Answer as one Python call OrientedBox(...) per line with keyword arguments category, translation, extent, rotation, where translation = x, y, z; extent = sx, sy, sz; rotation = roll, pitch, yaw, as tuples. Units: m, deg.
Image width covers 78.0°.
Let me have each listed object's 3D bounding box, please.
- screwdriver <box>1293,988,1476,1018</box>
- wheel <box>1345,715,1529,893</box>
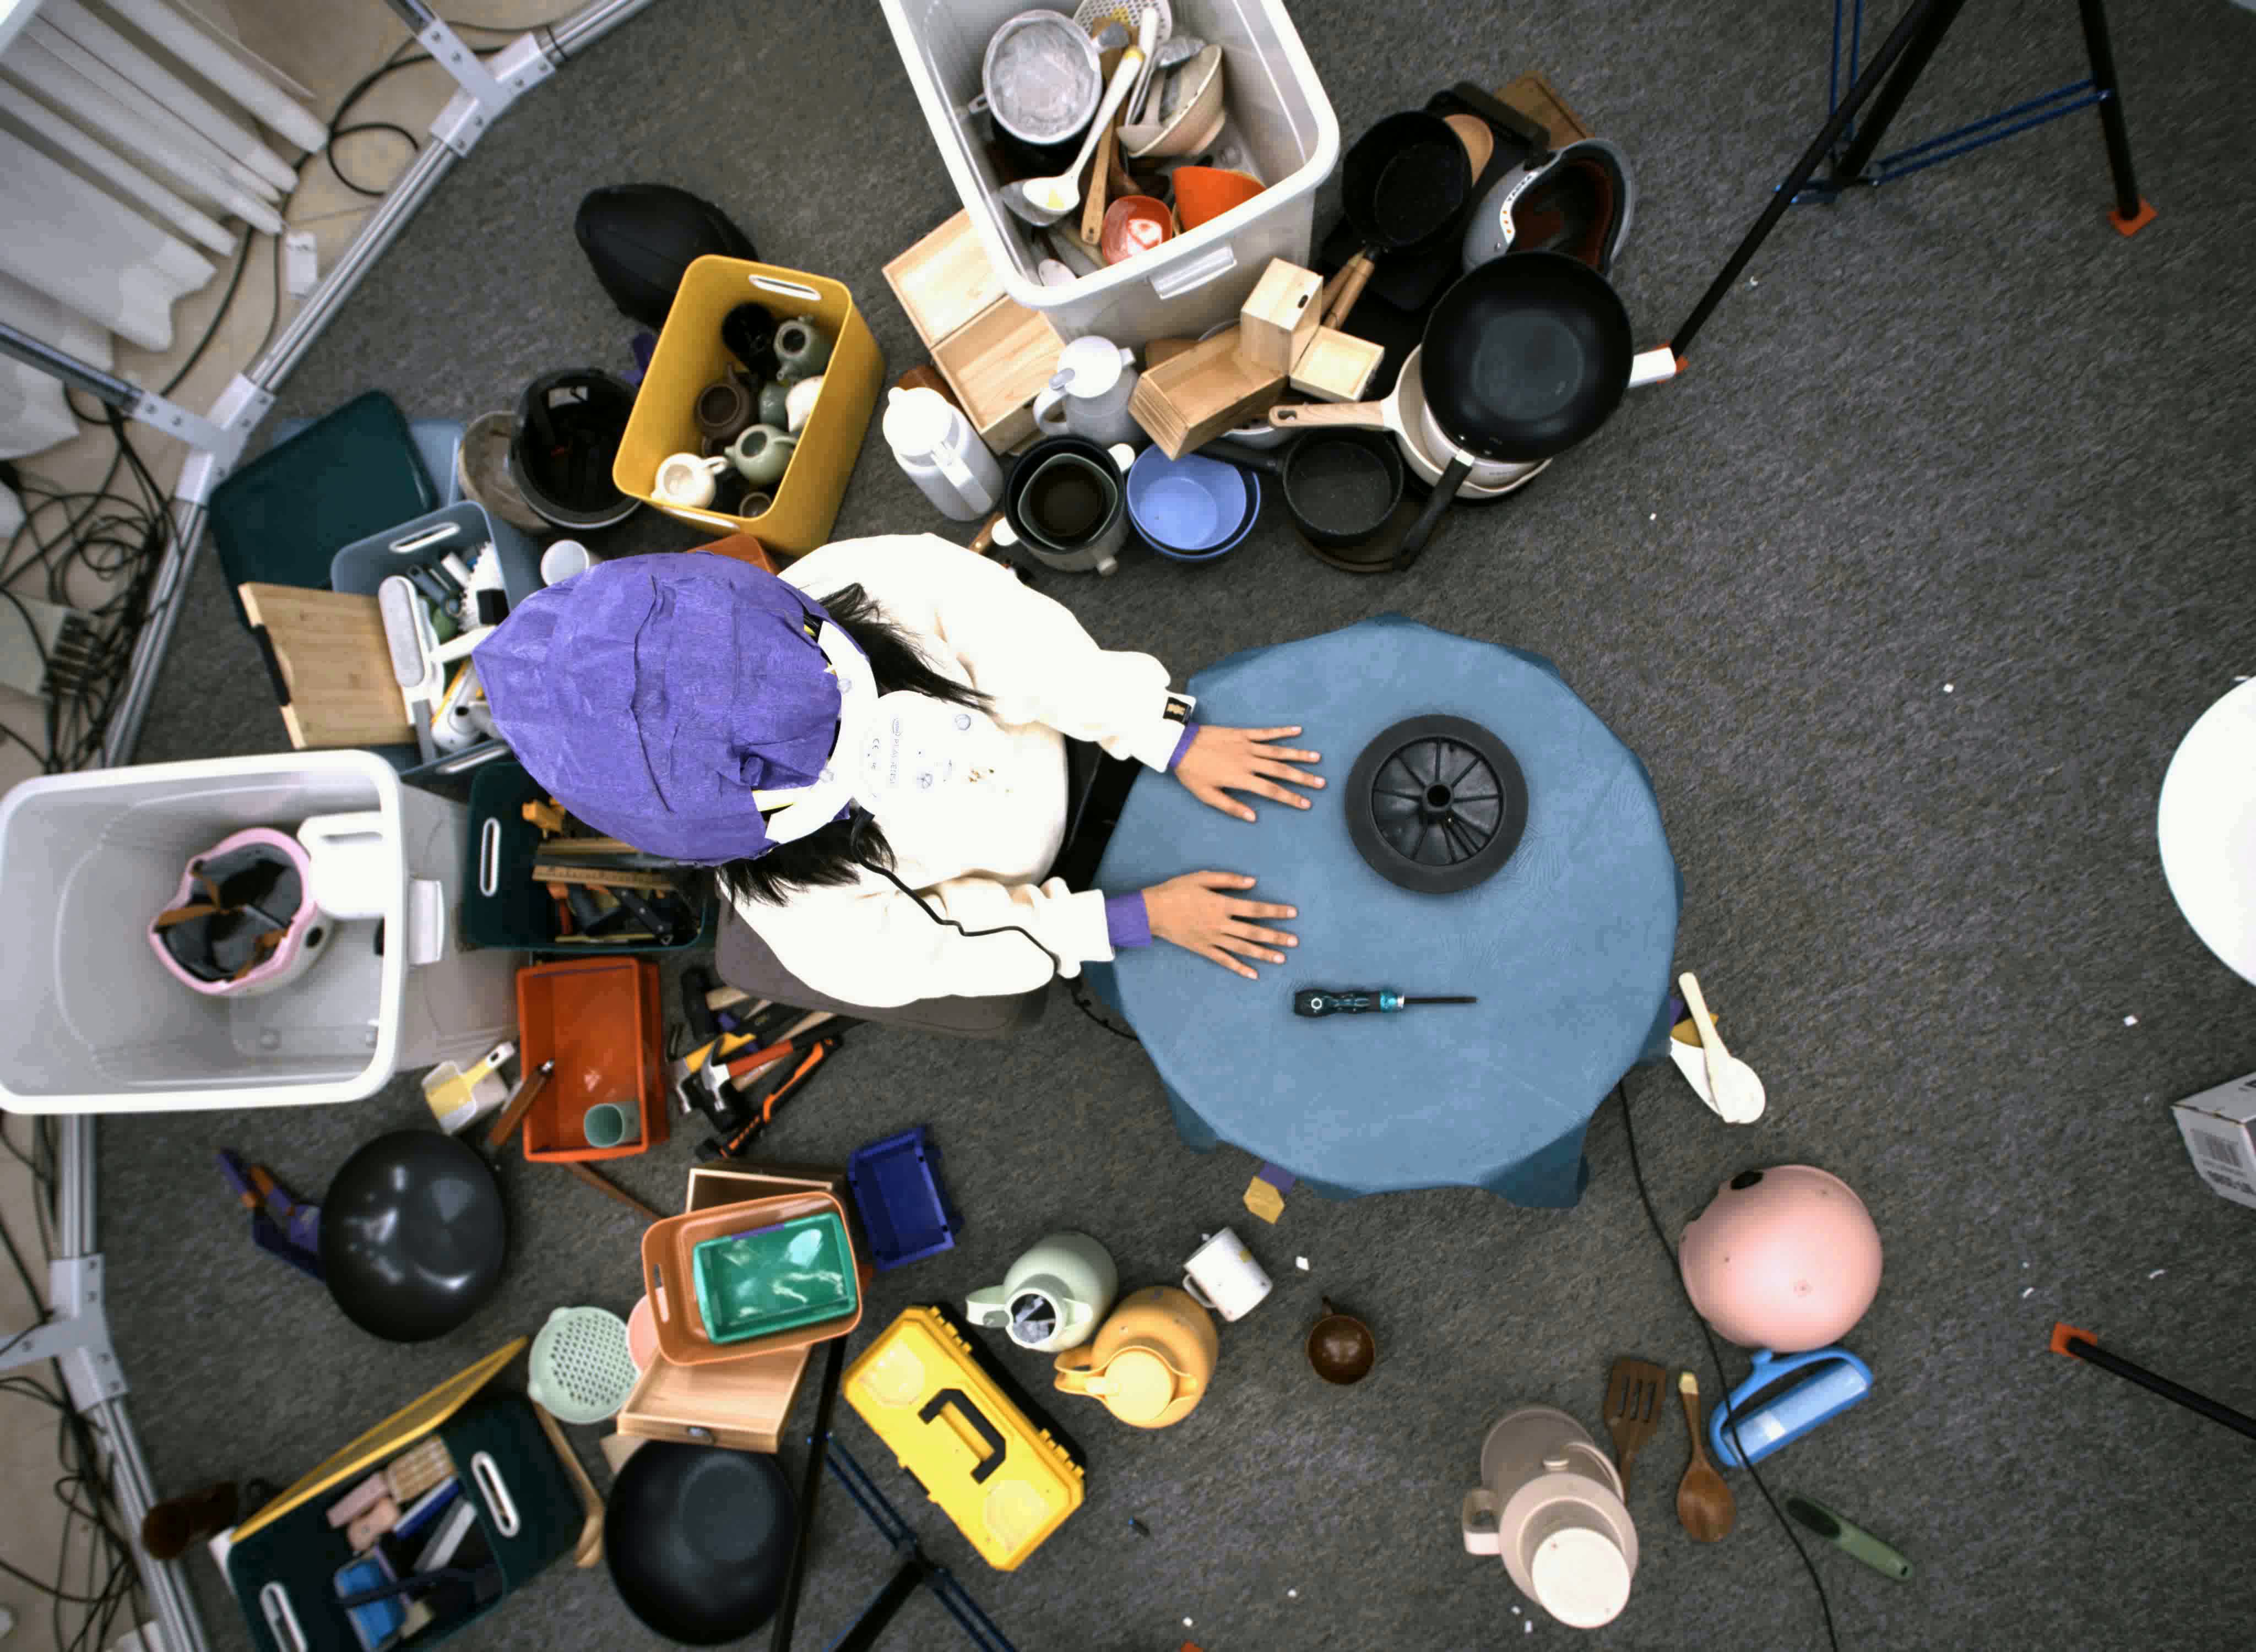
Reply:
OrientedBox(category="screwdriver", translation=(0.268, 0.183, 1.444), extent=(0.190, 0.034, 0.033), rotation=(-1, 85, 5))
OrientedBox(category="wheel", translation=(0.320, -0.026, 1.419), extent=(0.189, 0.079, 0.188), rotation=(30, 92, 8))
